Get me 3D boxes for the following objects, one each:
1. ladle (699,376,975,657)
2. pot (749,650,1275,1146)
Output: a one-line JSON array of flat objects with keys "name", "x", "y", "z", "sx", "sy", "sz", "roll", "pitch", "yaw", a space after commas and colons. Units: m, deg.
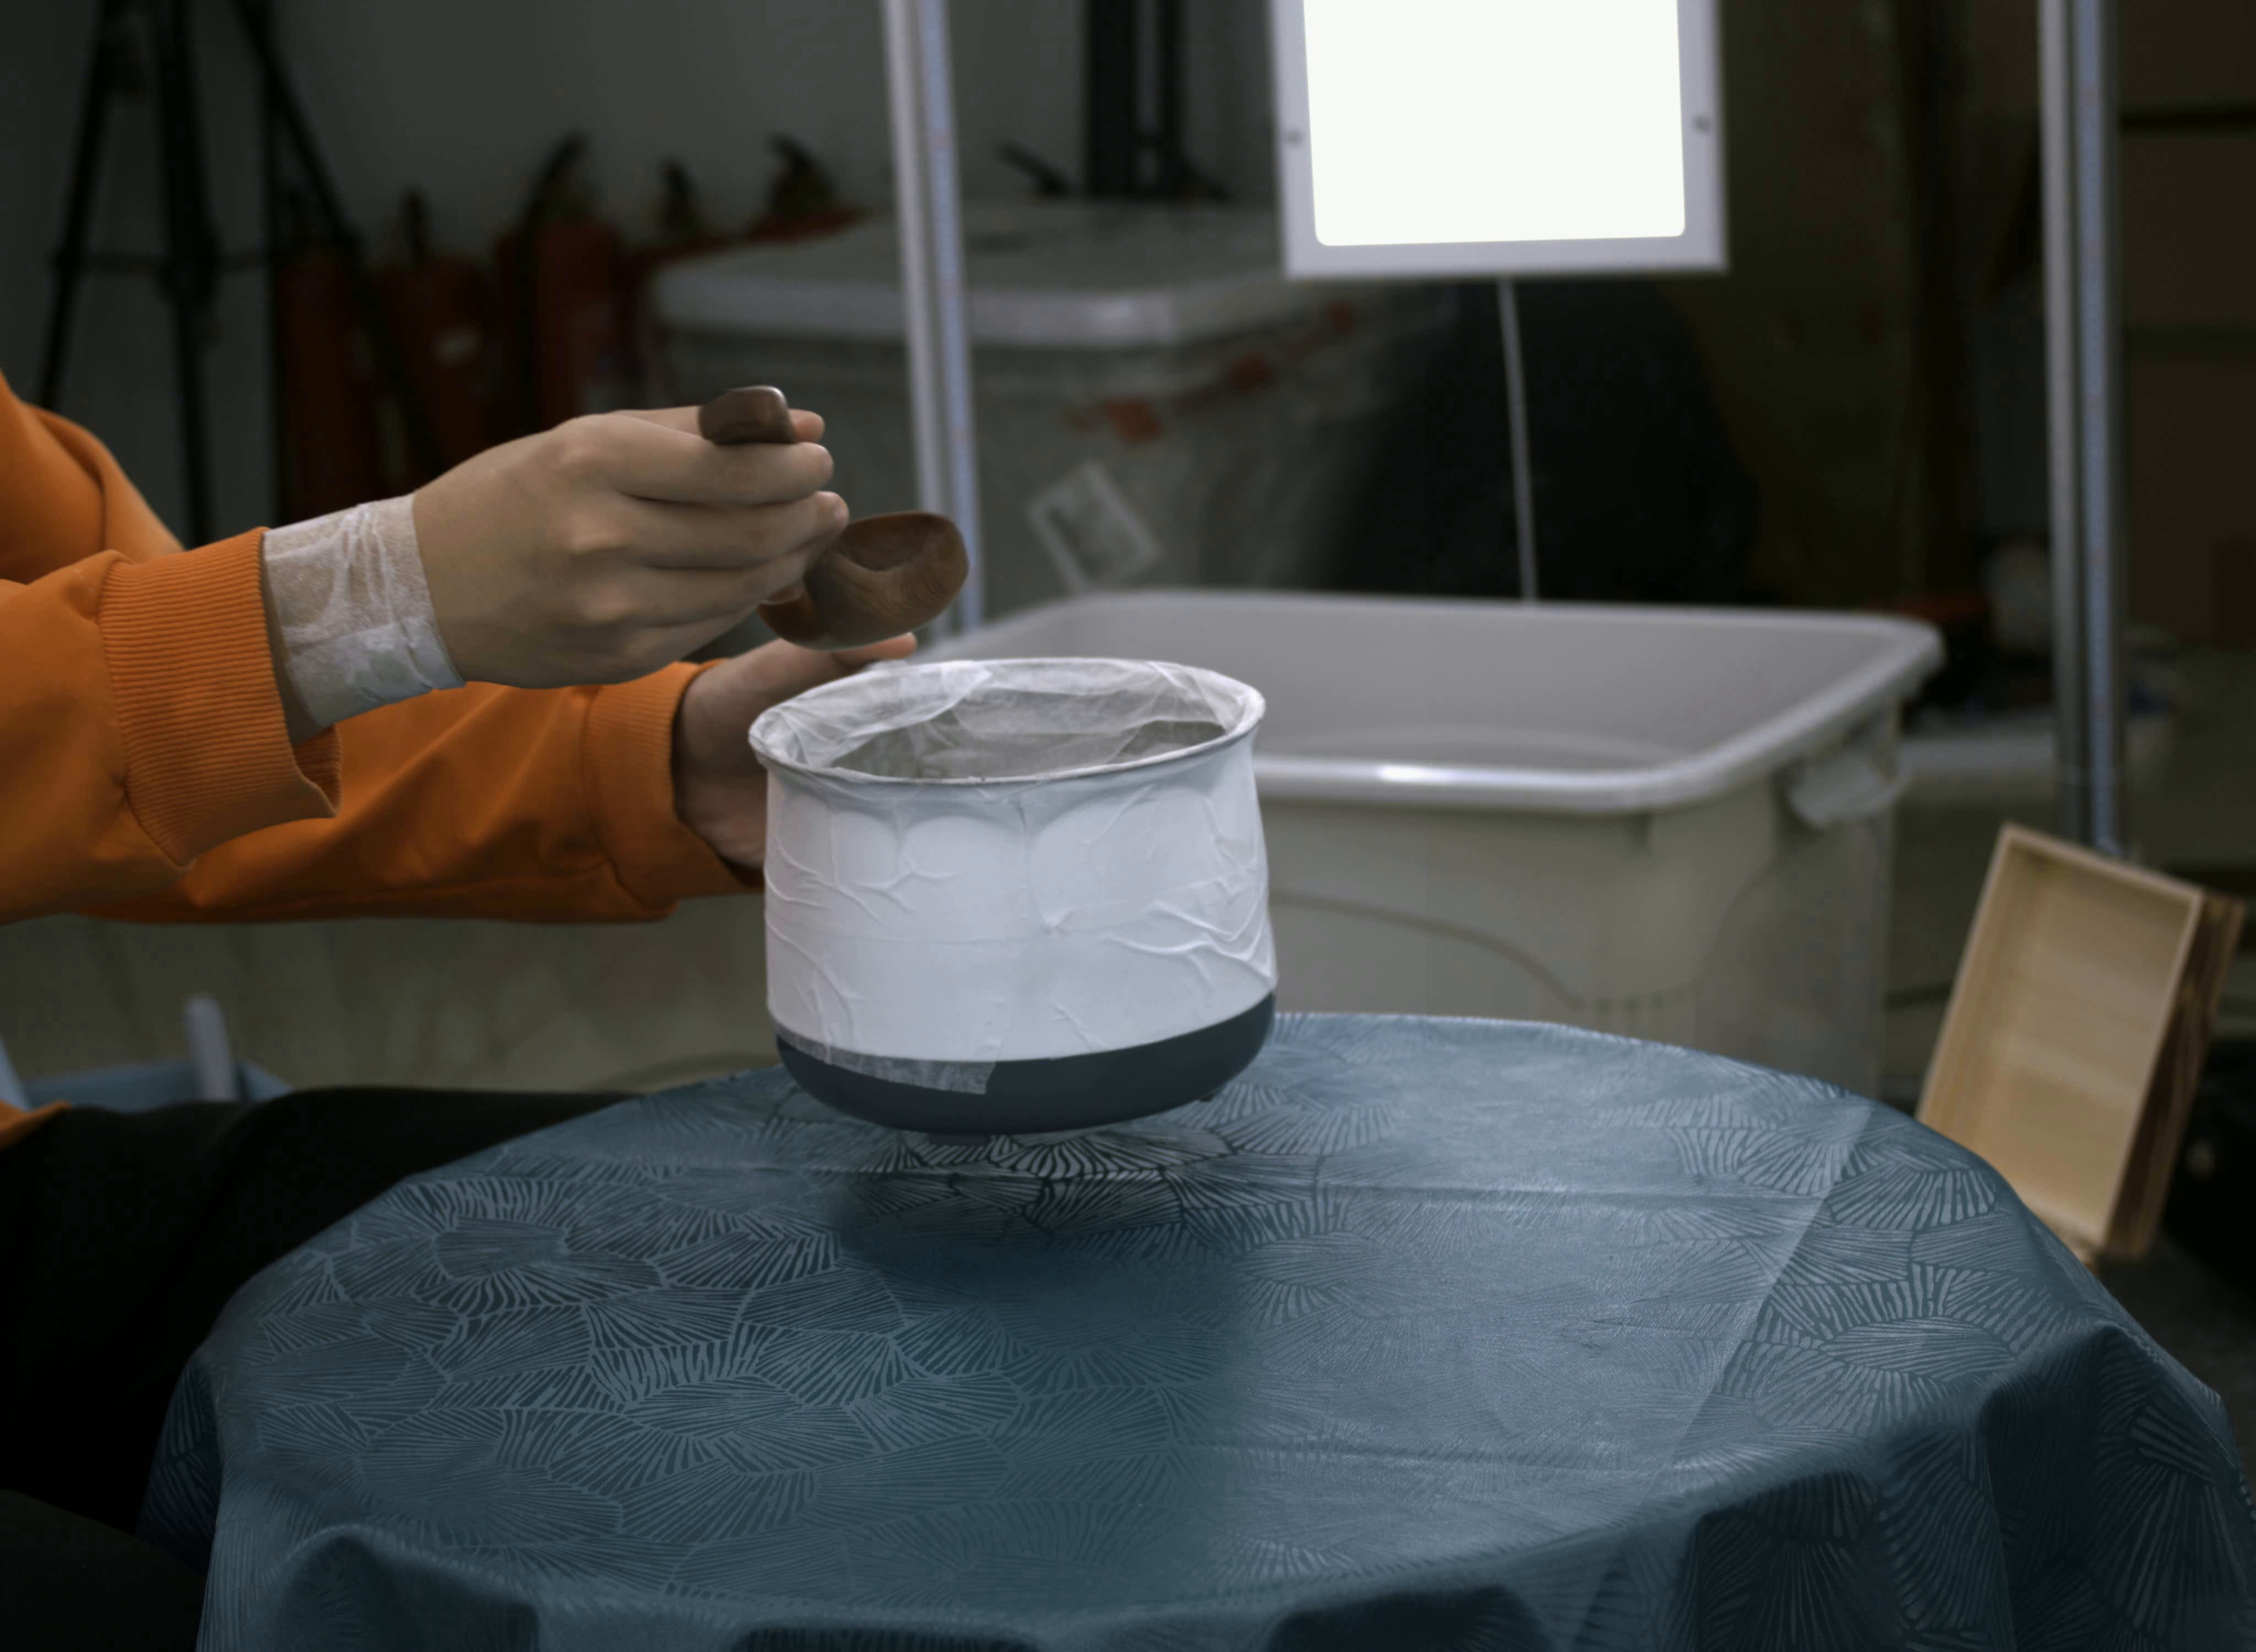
[{"name": "ladle", "x": -0.103, "y": -0.110, "z": 1.744, "sx": 0.076, "sy": 0.065, "sz": 0.258, "roll": -20, "pitch": -20, "yaw": 4}, {"name": "pot", "x": -0.052, "y": 0.018, "z": 1.913, "sx": 0.175, "sy": 0.137, "sz": 0.237, "roll": -10, "pitch": 16, "yaw": -25}]
